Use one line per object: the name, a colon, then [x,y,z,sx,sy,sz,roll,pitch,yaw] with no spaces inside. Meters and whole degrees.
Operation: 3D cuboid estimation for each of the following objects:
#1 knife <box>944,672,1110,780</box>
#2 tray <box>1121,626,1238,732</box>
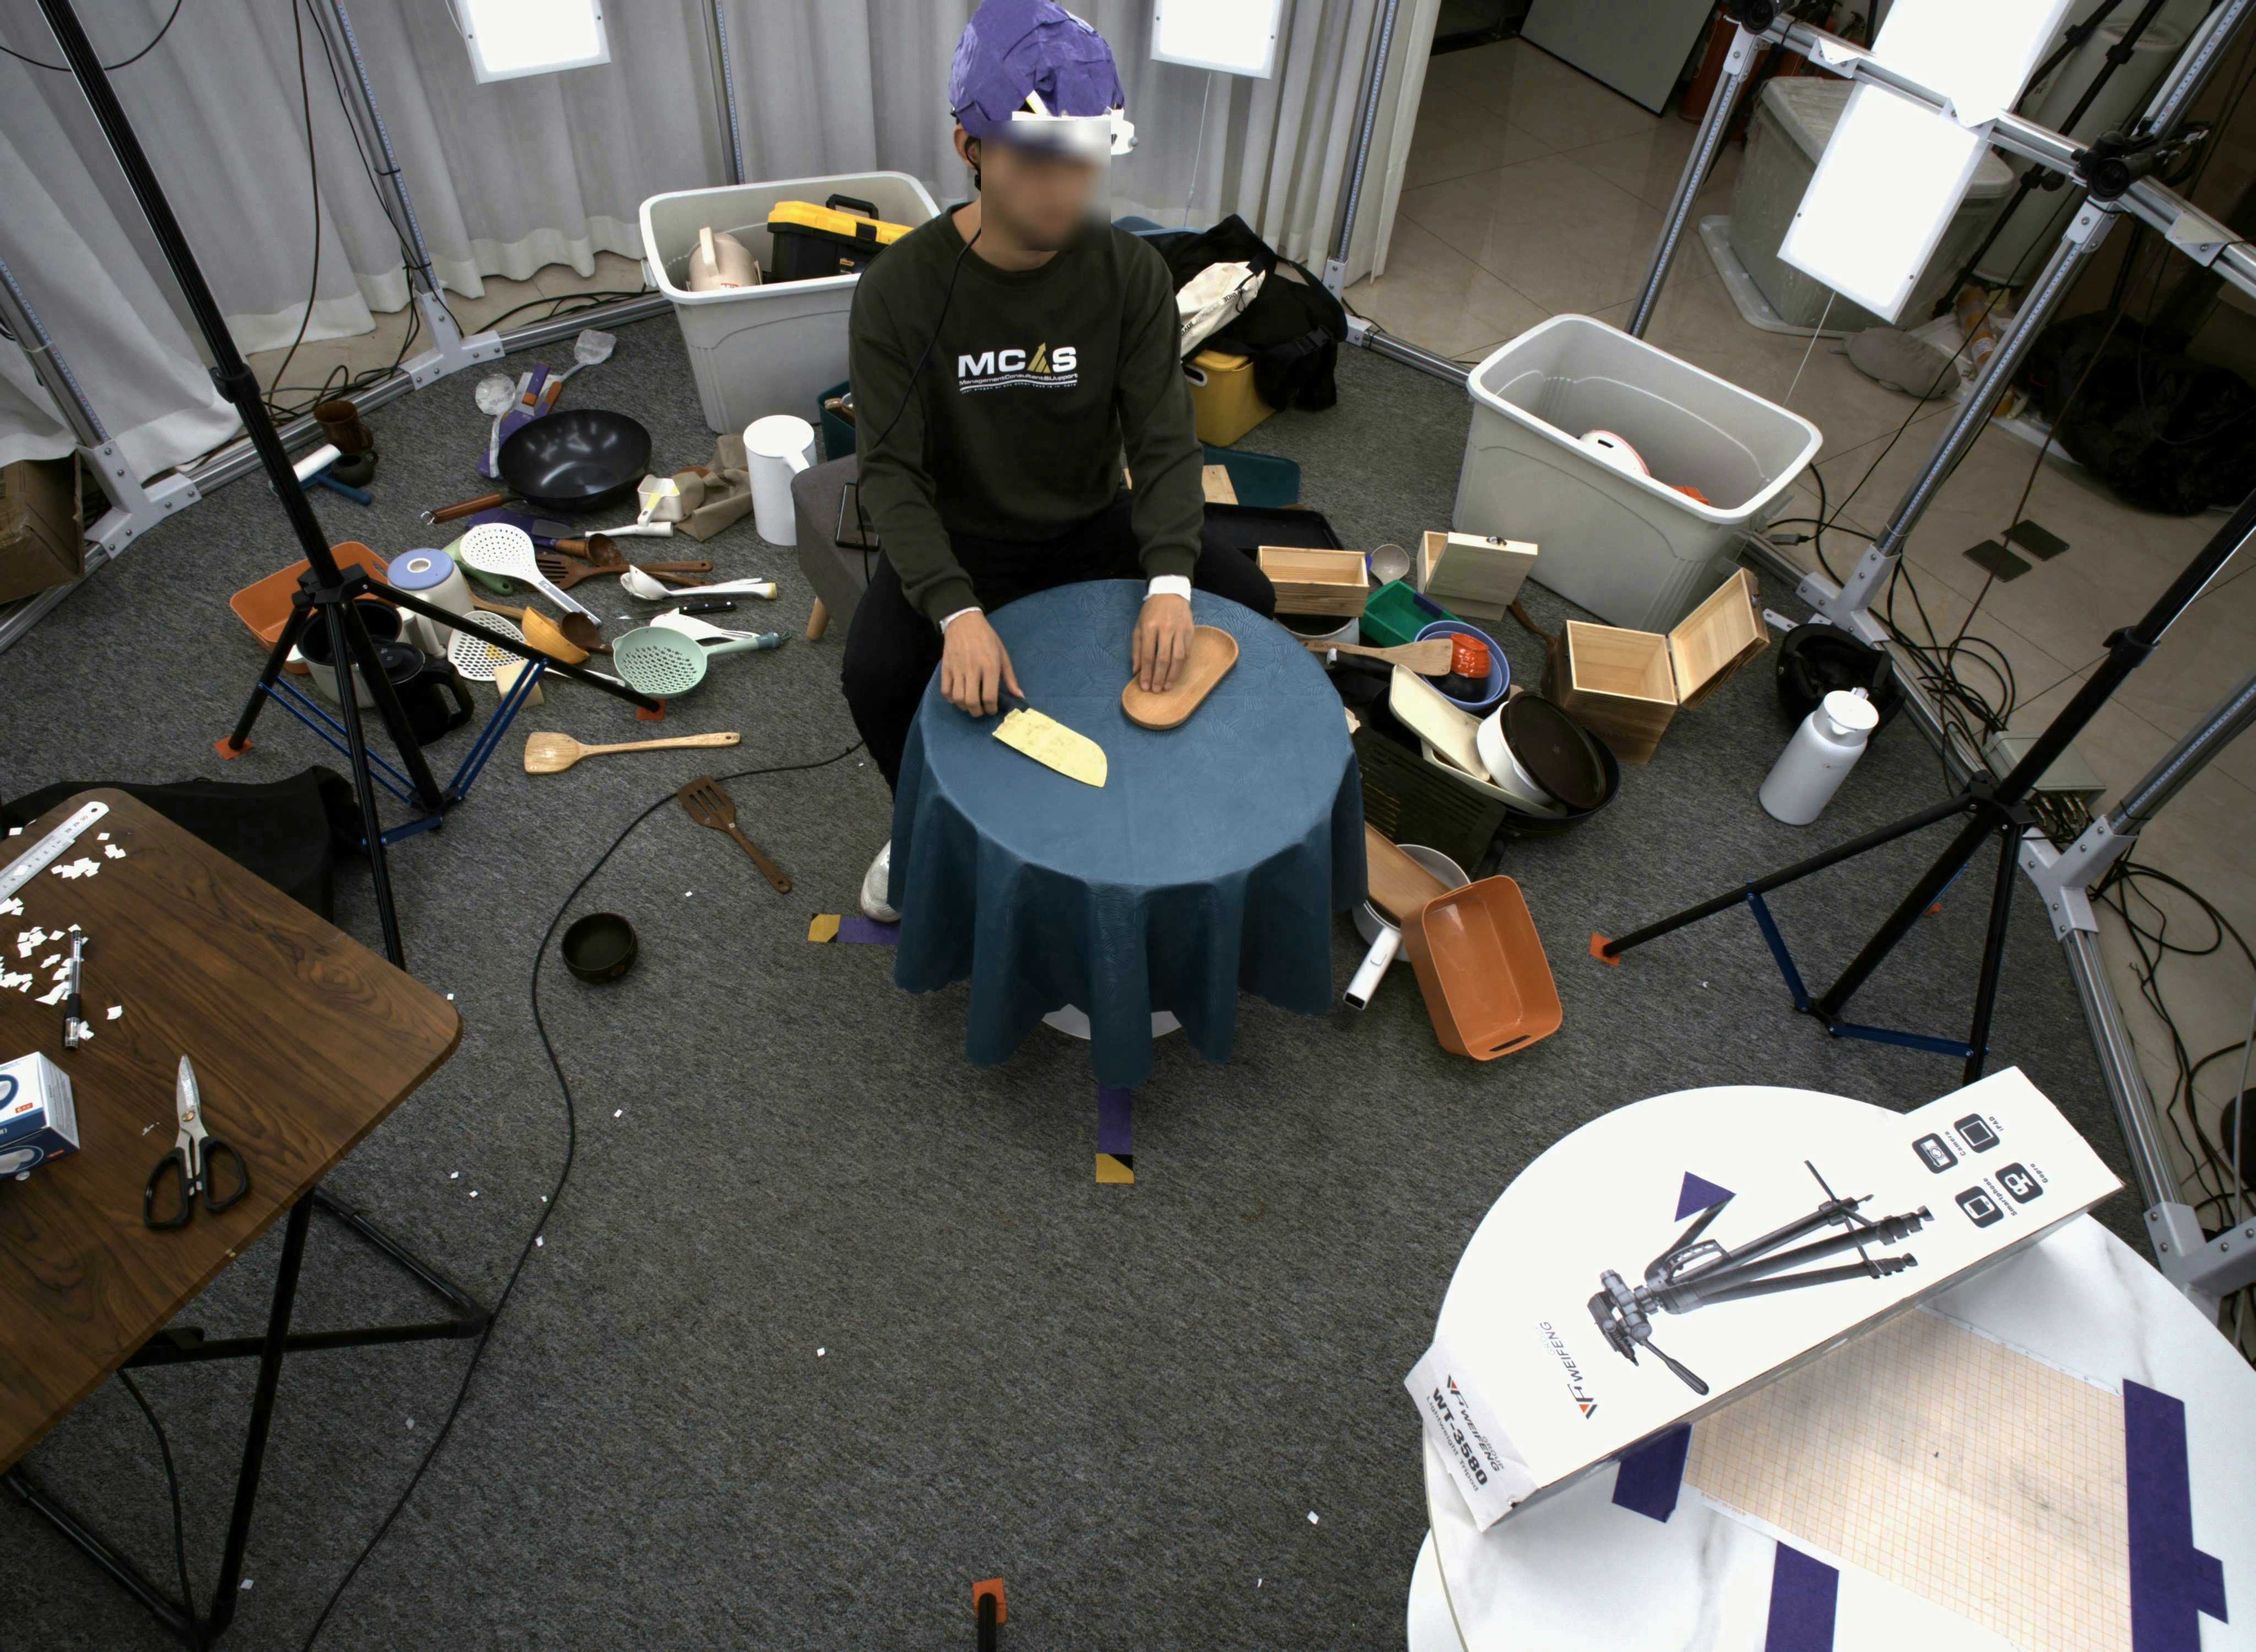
knife: [-0.145,-0.137,1.766,0.292,0.026,0.082,30,52,20]
tray: [0.076,-0.214,1.848,0.102,0.020,0.234,26,54,20]
